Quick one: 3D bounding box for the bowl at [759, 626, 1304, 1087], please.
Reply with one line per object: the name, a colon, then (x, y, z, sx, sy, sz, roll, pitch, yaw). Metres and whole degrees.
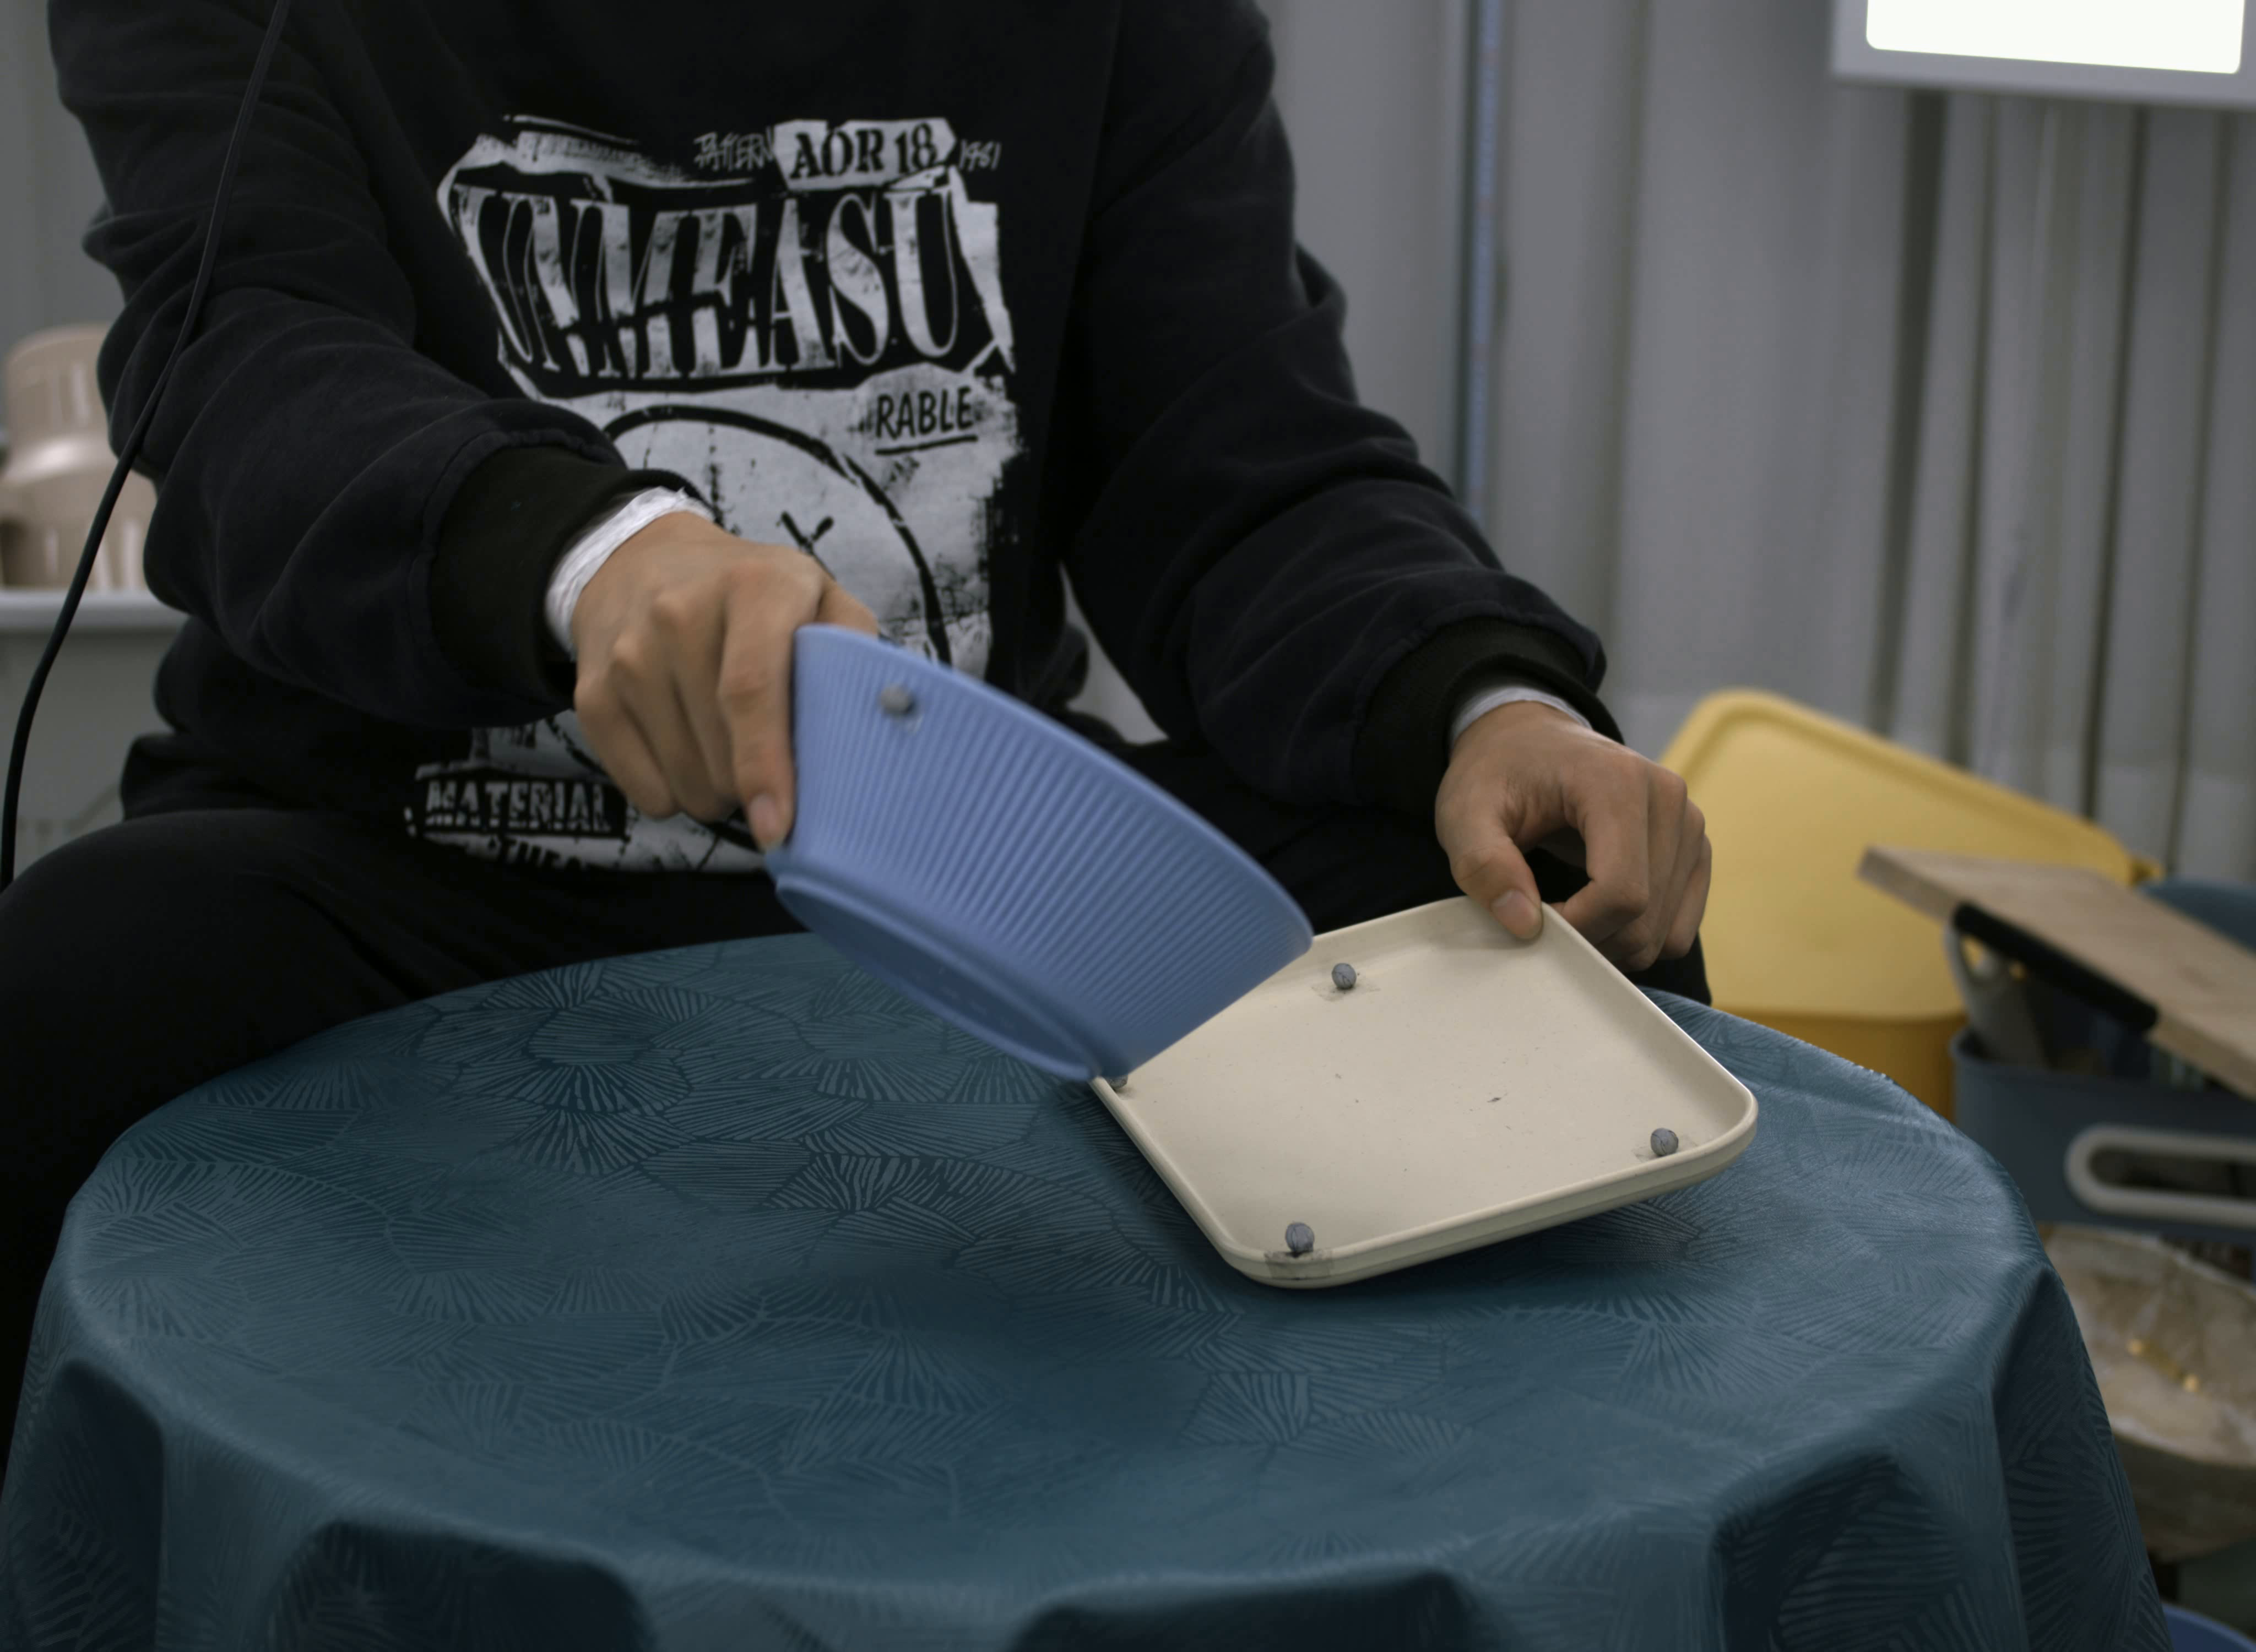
bowl: (-0.040, 0.018, 1.520, 0.175, 0.070, 0.177, 30, -9, 6)

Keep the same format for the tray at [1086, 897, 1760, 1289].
tray: (0.085, 0.082, 1.648, 0.171, 0.017, 0.237, -14, 21, -12)
